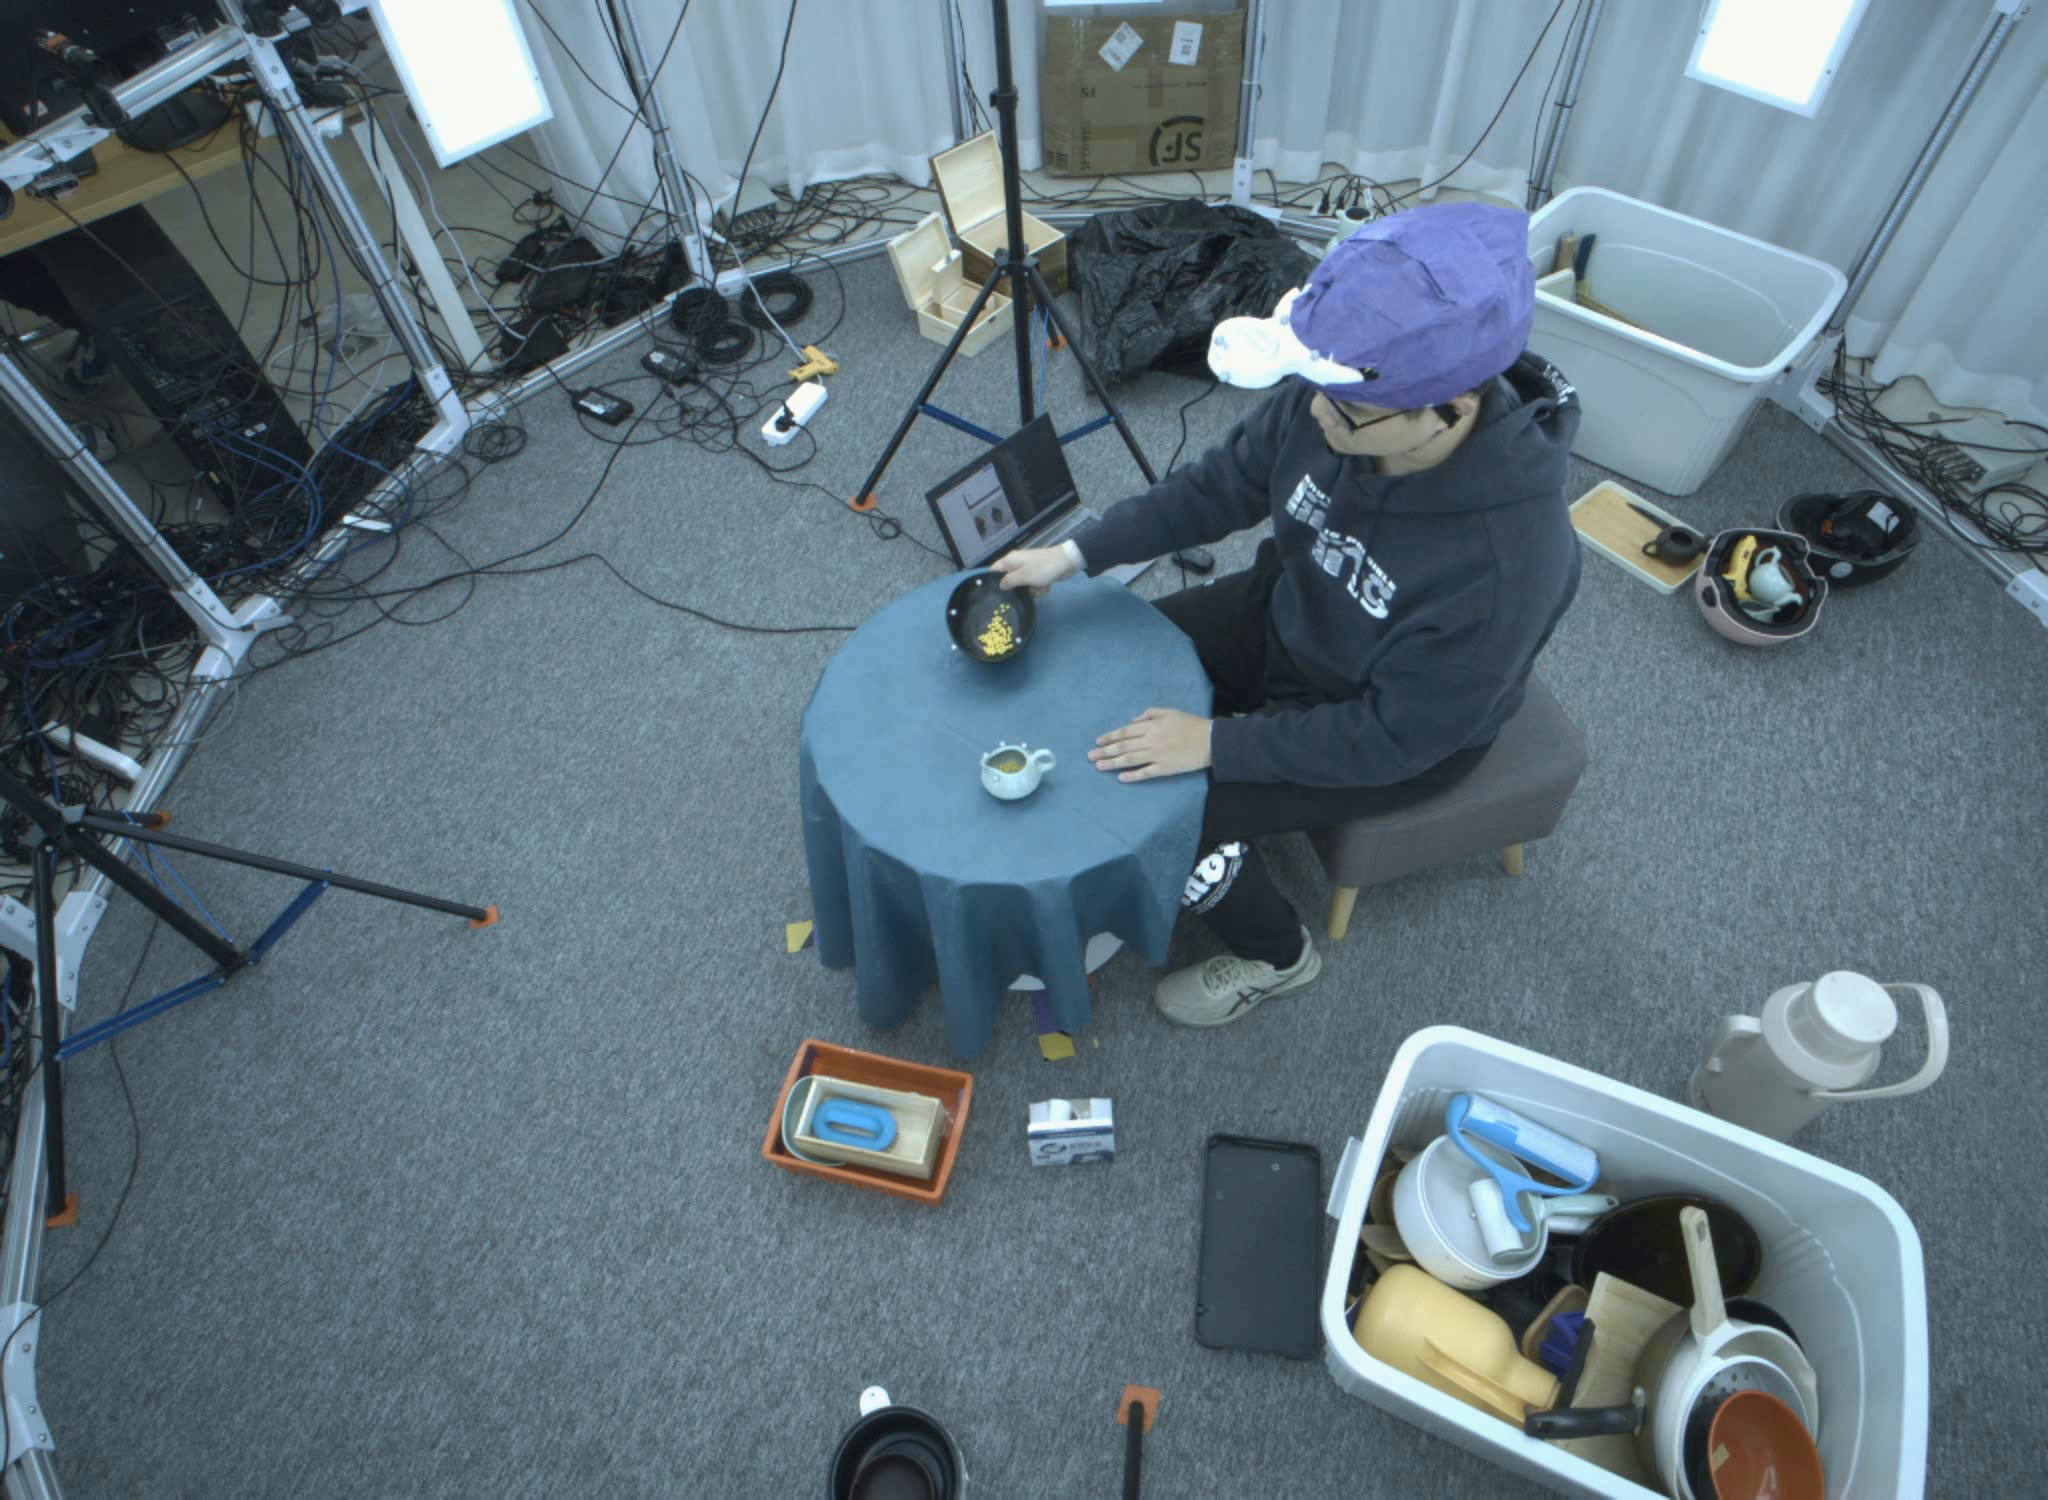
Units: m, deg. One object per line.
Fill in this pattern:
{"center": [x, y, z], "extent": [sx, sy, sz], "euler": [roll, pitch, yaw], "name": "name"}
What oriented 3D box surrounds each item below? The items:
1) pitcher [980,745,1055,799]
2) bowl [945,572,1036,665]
{"center": [-0.009, 0.025, 1.736], "extent": [0.108, 0.061, 0.085], "euler": [-9, 56, -7], "name": "pitcher"}
{"center": [-0.051, -0.193, 1.871], "extent": [0.137, 0.067, 0.168], "euler": [0, 63, -2], "name": "bowl"}
